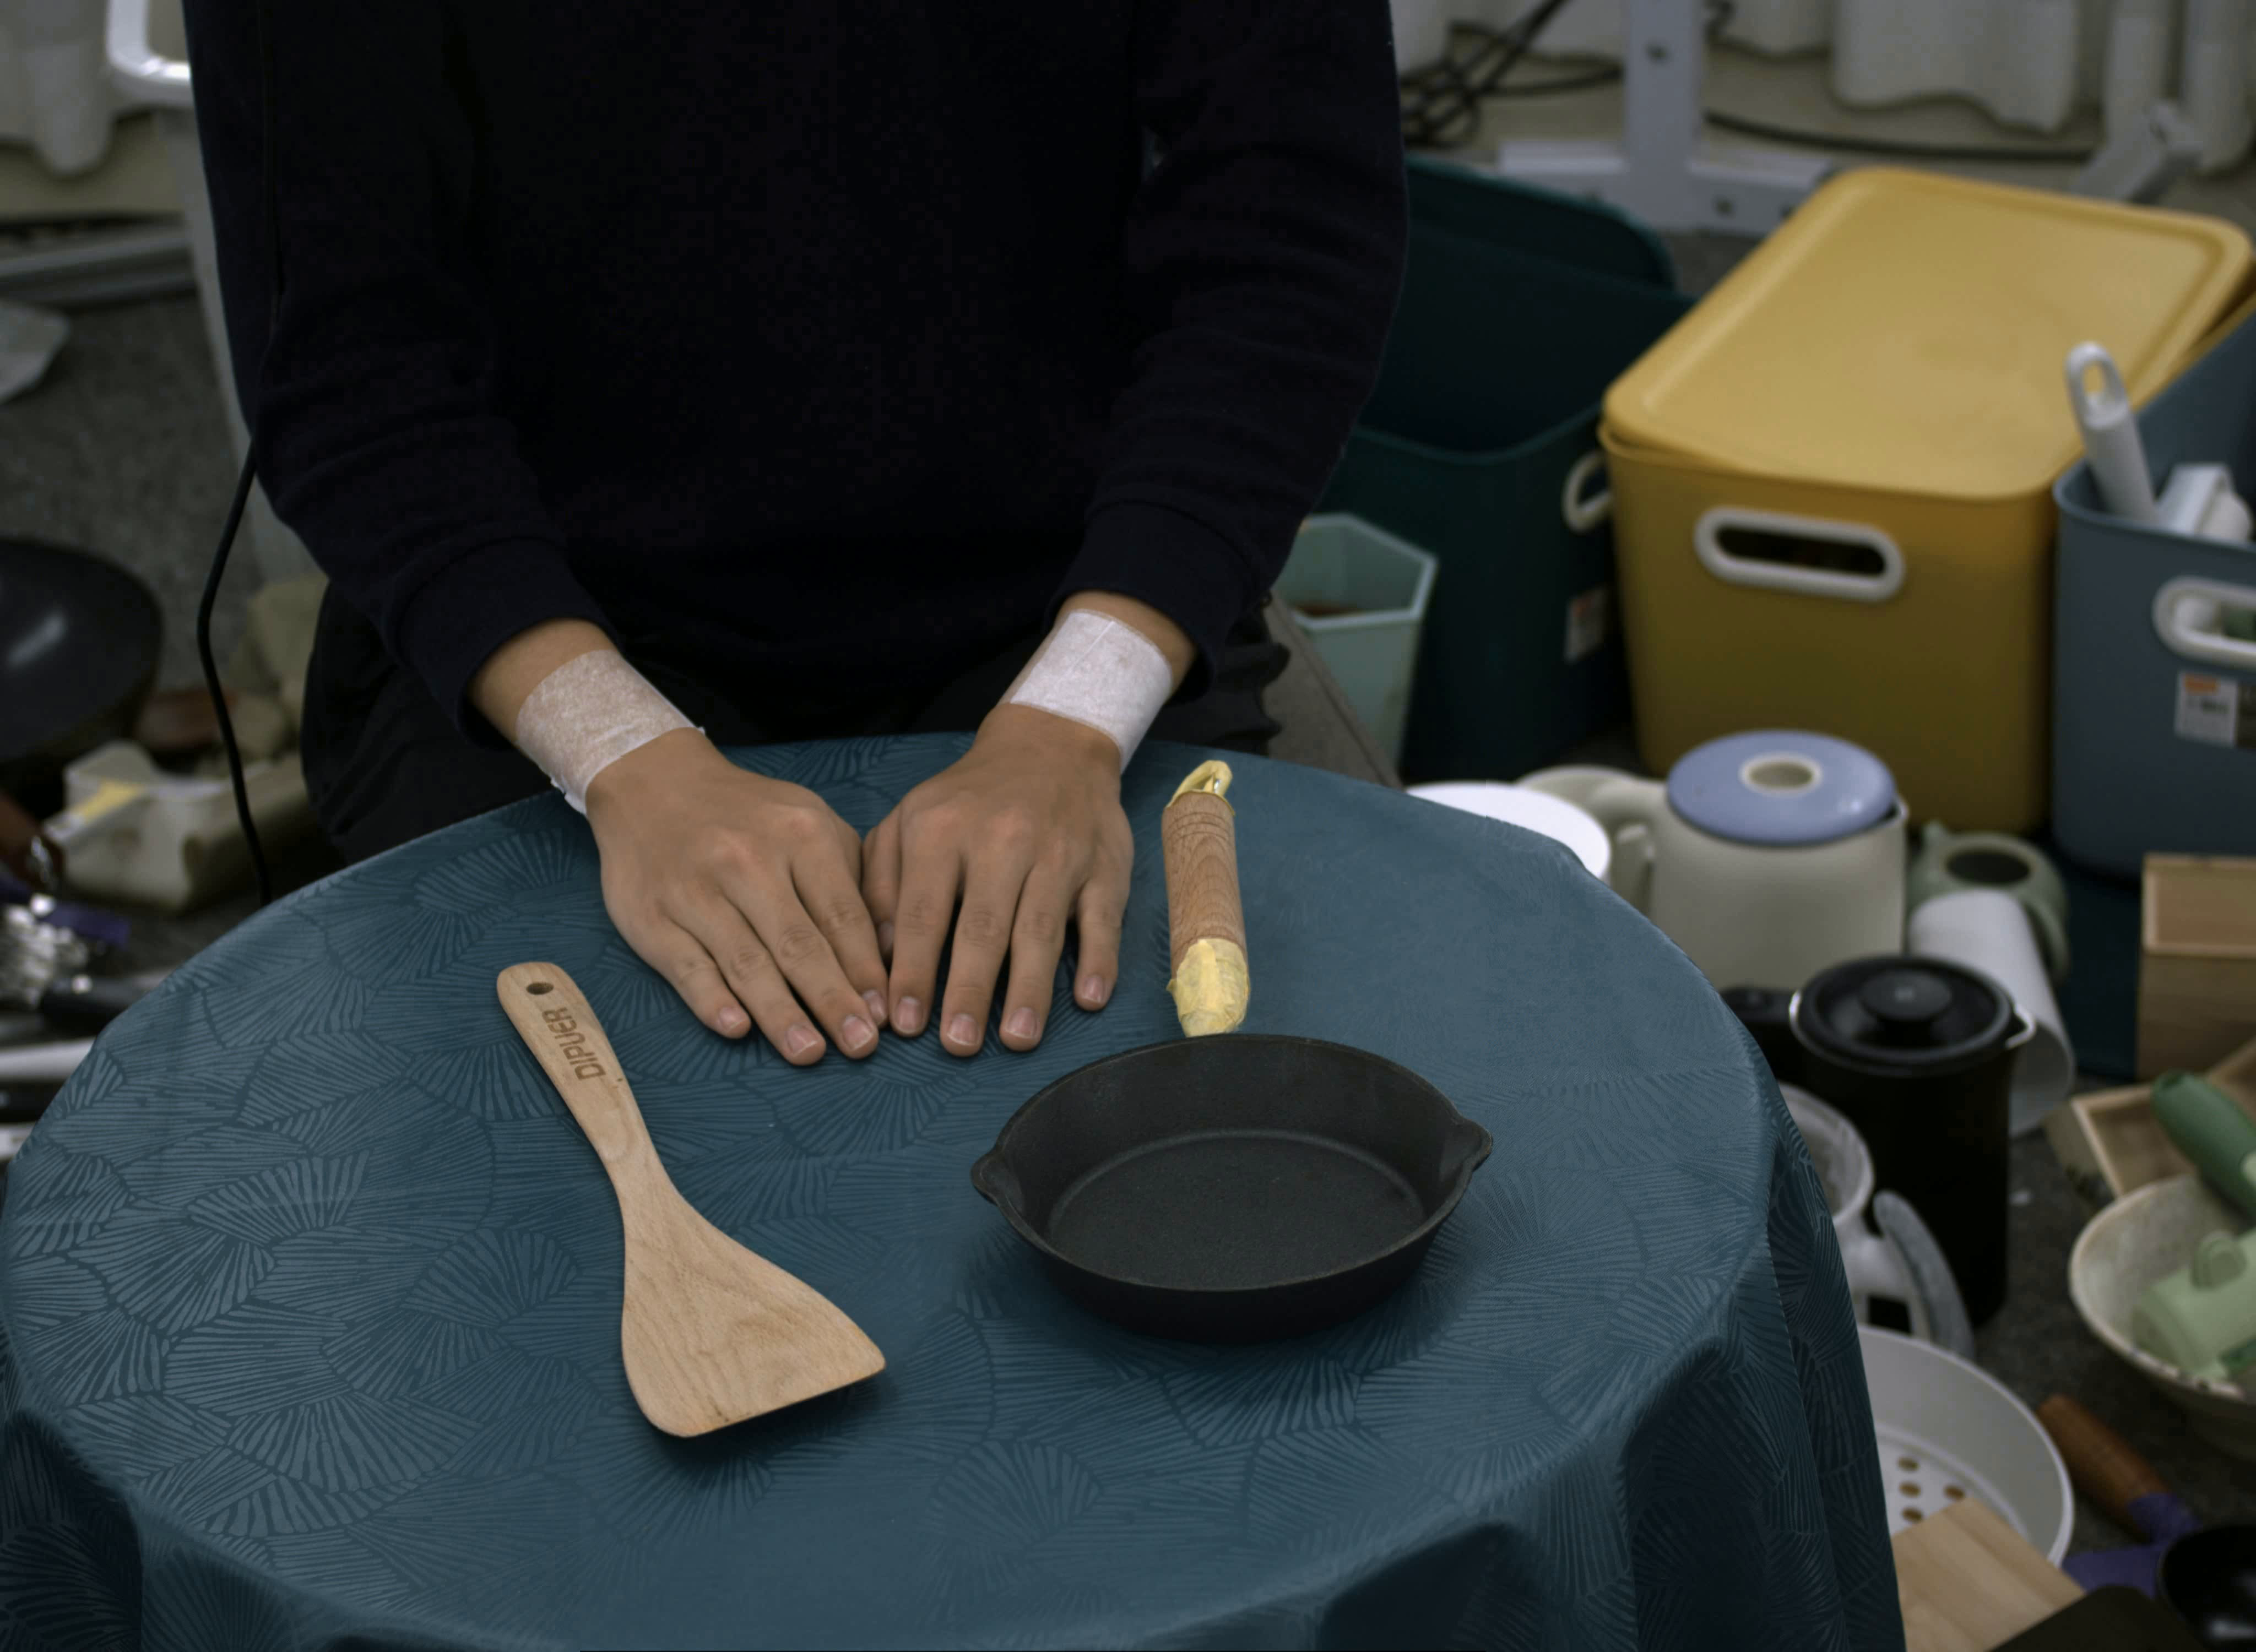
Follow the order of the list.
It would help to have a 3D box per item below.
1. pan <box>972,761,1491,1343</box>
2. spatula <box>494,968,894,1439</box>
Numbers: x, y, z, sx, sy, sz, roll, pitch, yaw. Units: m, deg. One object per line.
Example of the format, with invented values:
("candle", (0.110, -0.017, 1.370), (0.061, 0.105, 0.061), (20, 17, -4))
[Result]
("pan", (0.033, 0.073, 1.897), (0.168, 0.049, 0.329), (-3, 29, 1))
("spatula", (-0.159, 0.118, 1.867), (0.080, 0.016, 0.330), (-11, 29, -17))
